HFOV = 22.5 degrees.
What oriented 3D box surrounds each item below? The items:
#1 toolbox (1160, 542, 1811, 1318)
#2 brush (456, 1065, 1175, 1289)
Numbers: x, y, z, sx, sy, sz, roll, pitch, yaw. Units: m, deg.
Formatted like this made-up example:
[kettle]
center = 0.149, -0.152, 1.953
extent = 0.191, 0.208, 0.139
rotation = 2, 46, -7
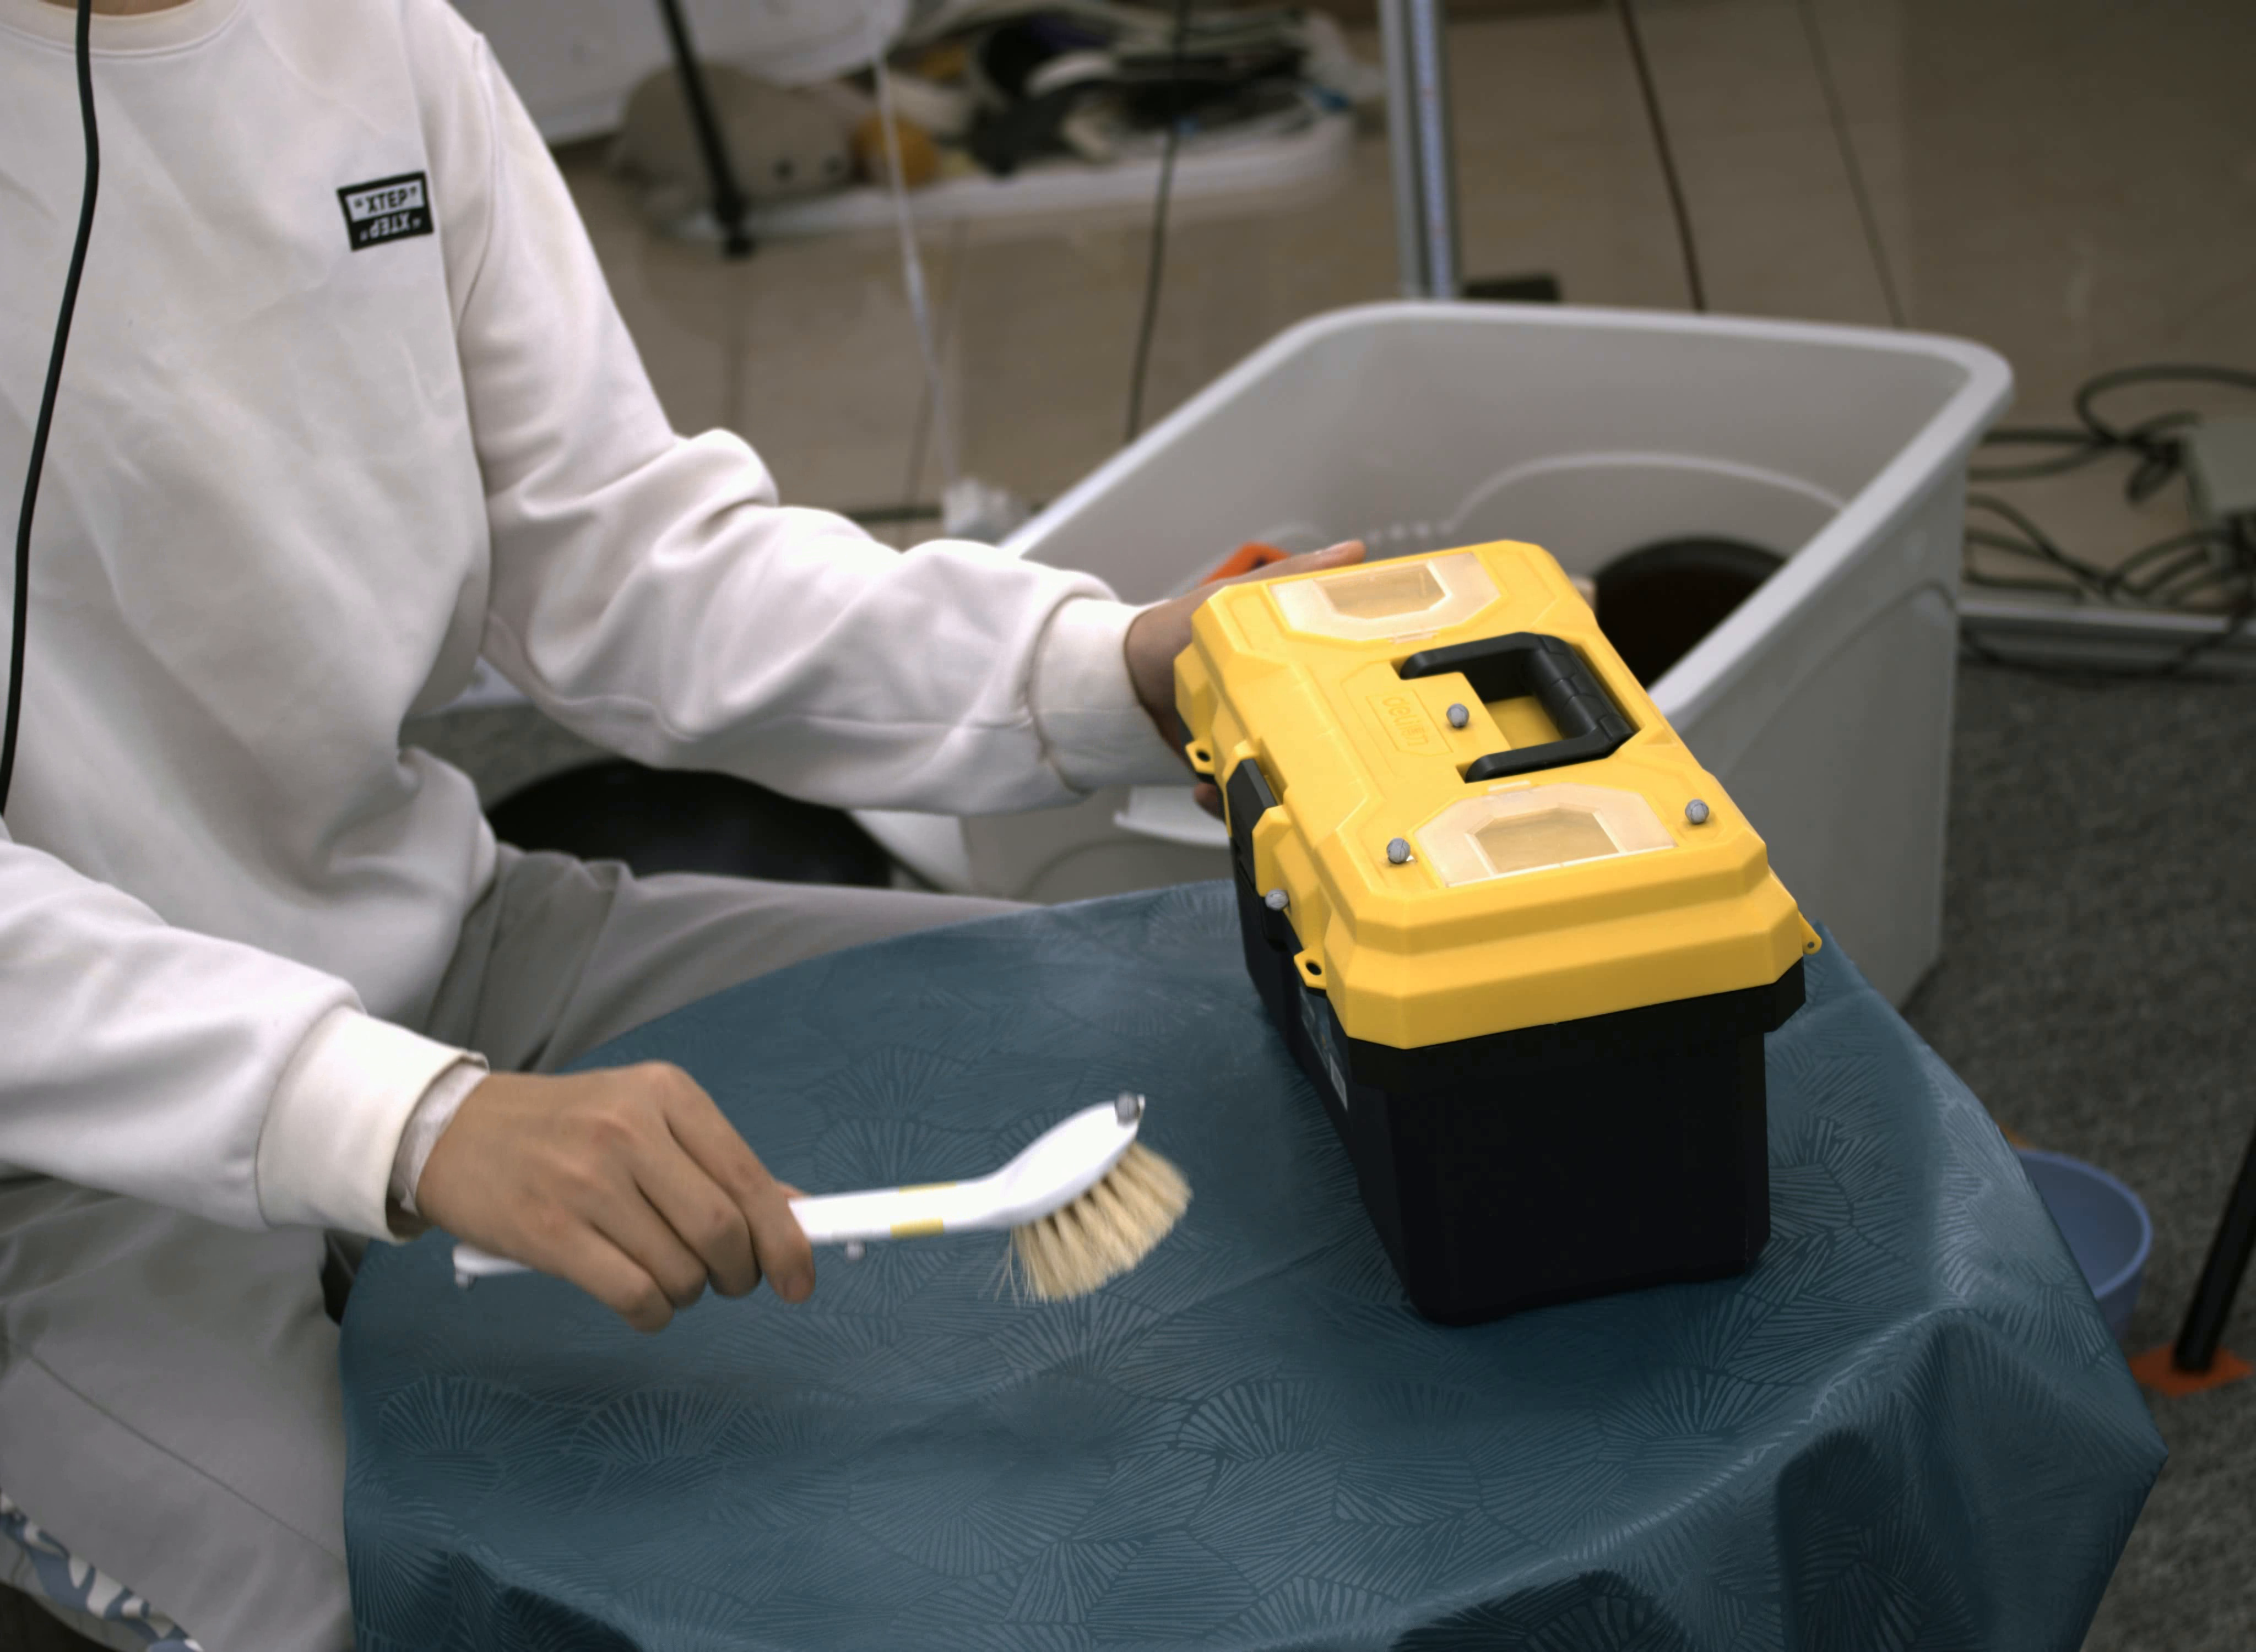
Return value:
[toolbox]
center = 0.130, 0.033, 2.133
extent = 0.181, 0.175, 0.346
rotation = -9, 24, -7
[brush]
center = -0.109, 0.146, 2.011
extent = 0.267, 0.056, 0.068
rotation = -17, 10, 14
